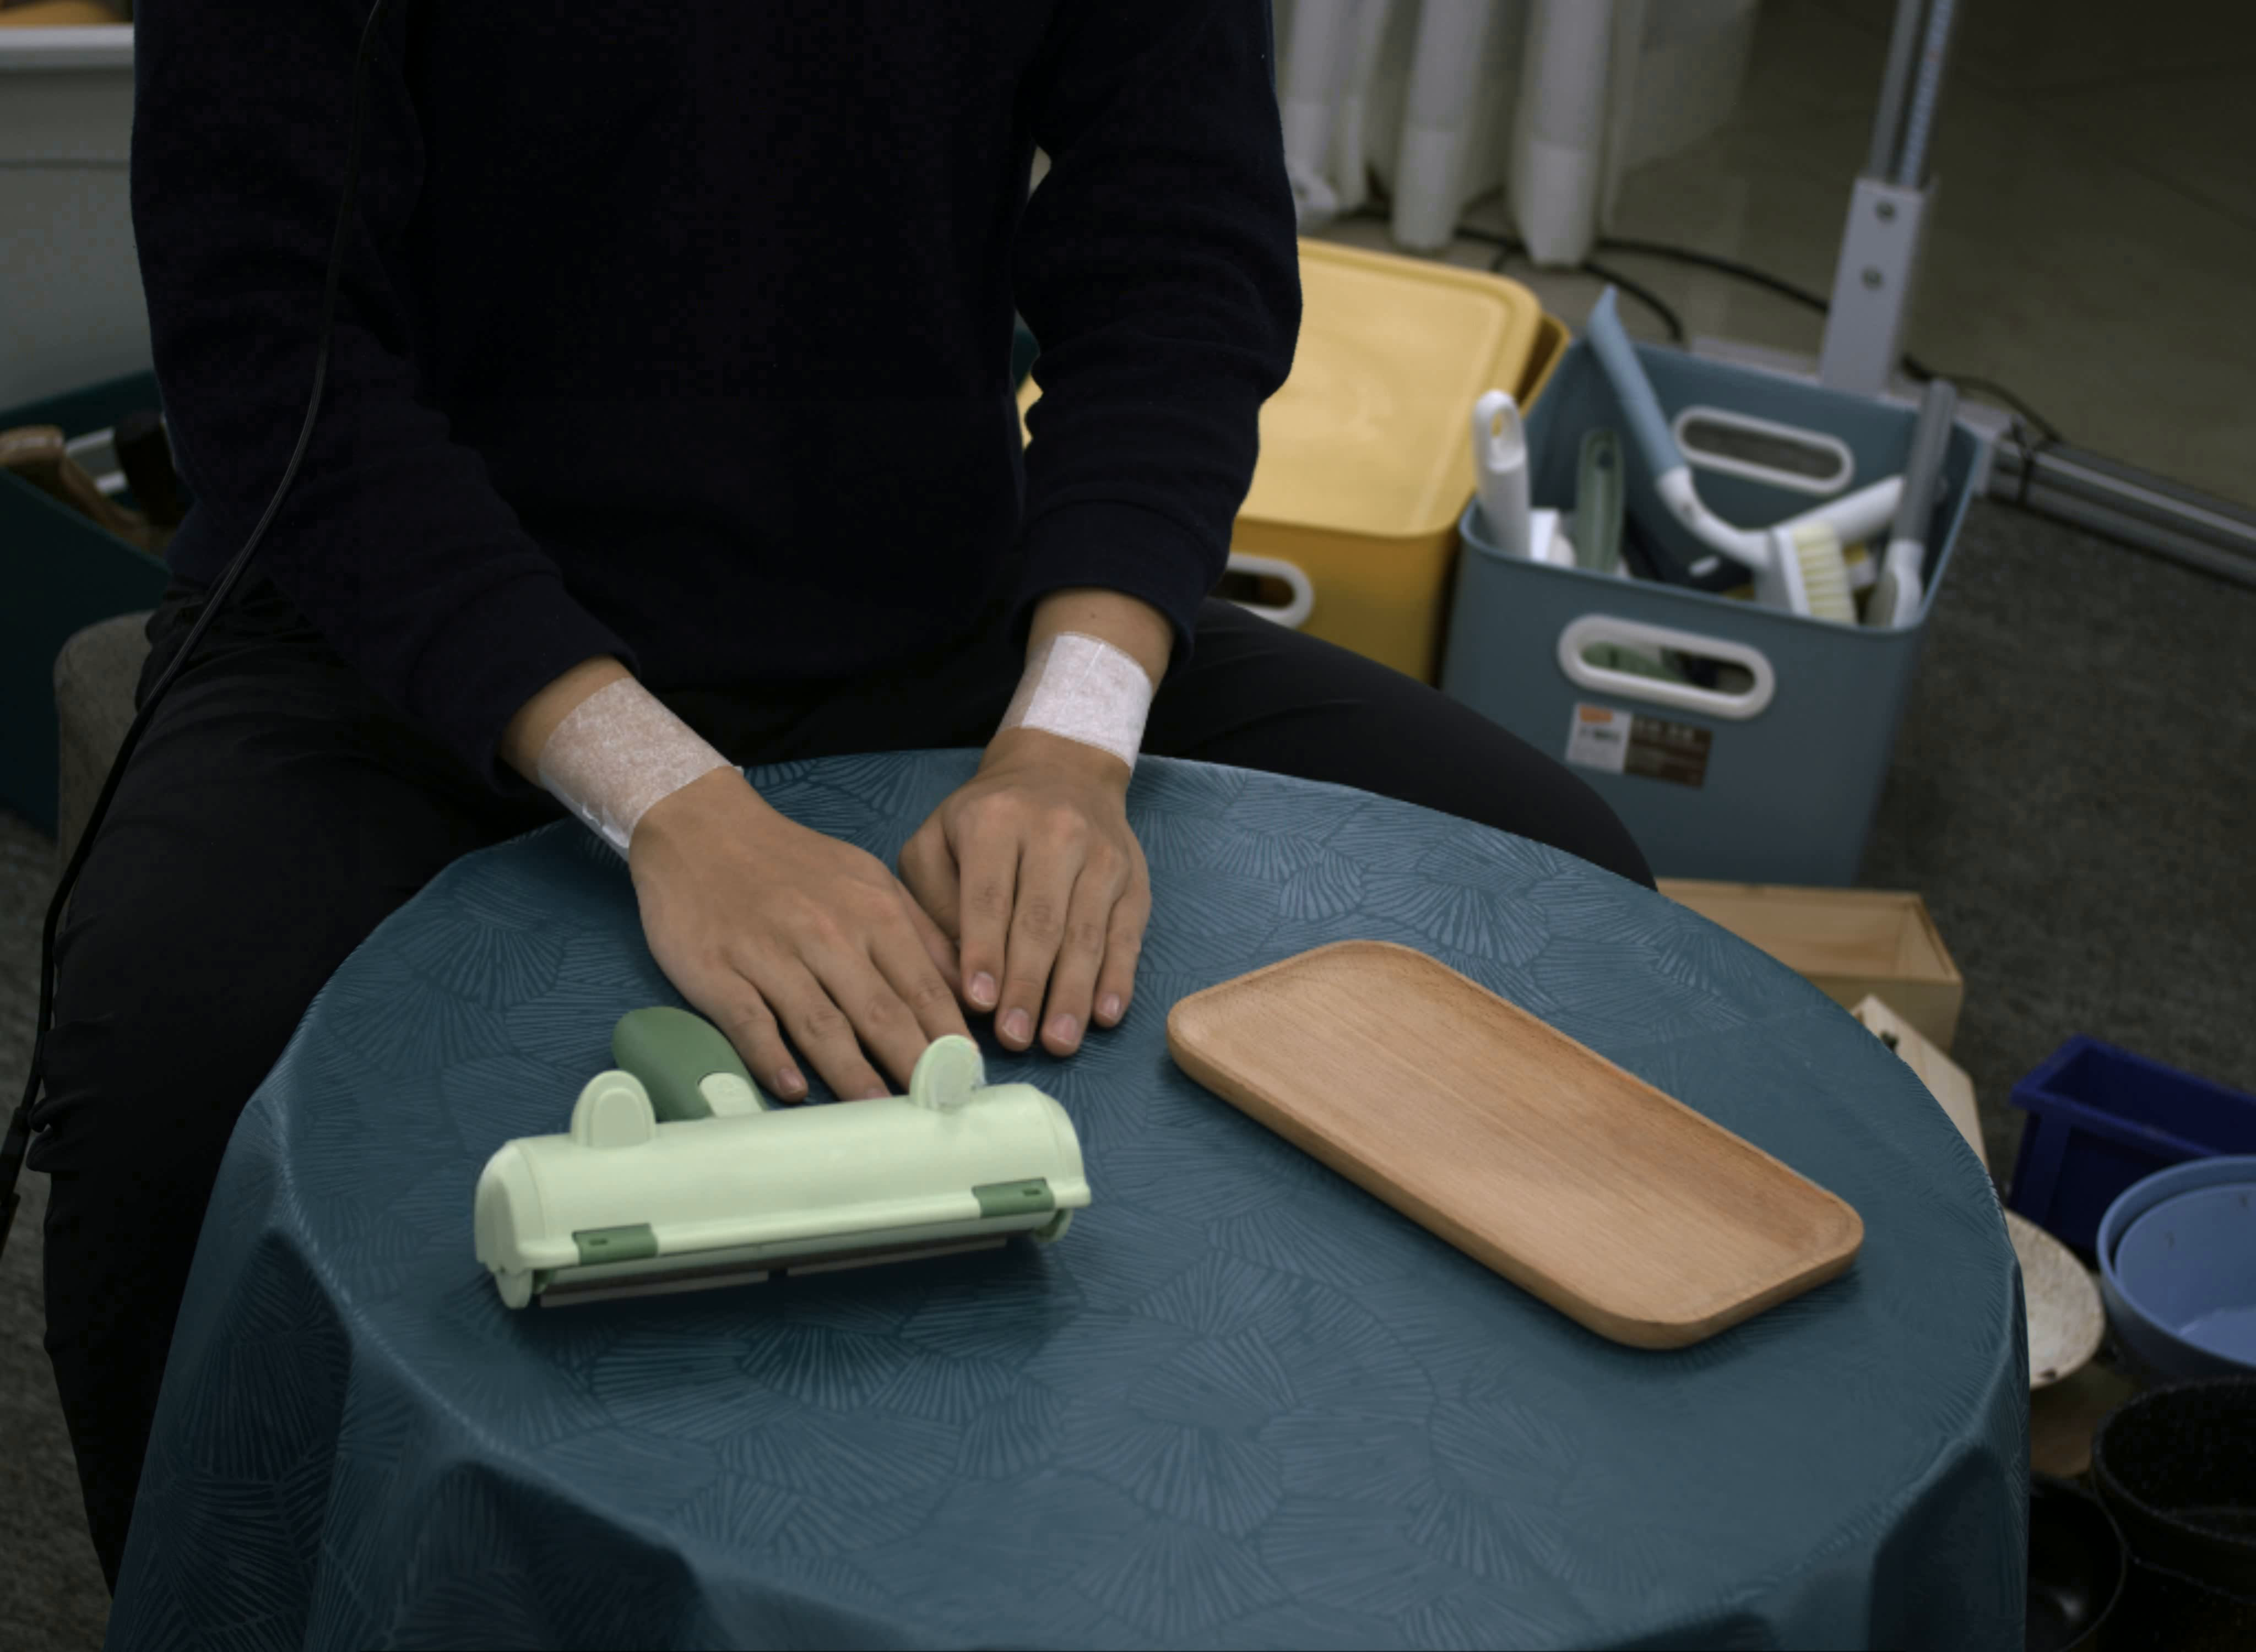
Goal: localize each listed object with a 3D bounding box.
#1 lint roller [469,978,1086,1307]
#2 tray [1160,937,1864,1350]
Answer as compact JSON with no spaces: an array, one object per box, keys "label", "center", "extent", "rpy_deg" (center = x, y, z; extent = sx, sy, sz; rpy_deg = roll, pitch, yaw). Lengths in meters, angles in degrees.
[{"label":"lint roller","center":[-0.133,0.082,1.759],"extent":[0.197,0.082,0.185],"rpy_deg":[-5,35,-23]},{"label":"tray","center":[0.130,0.108,1.845],"extent":[0.130,0.023,0.253],"rpy_deg":[-16,34,-40]}]
